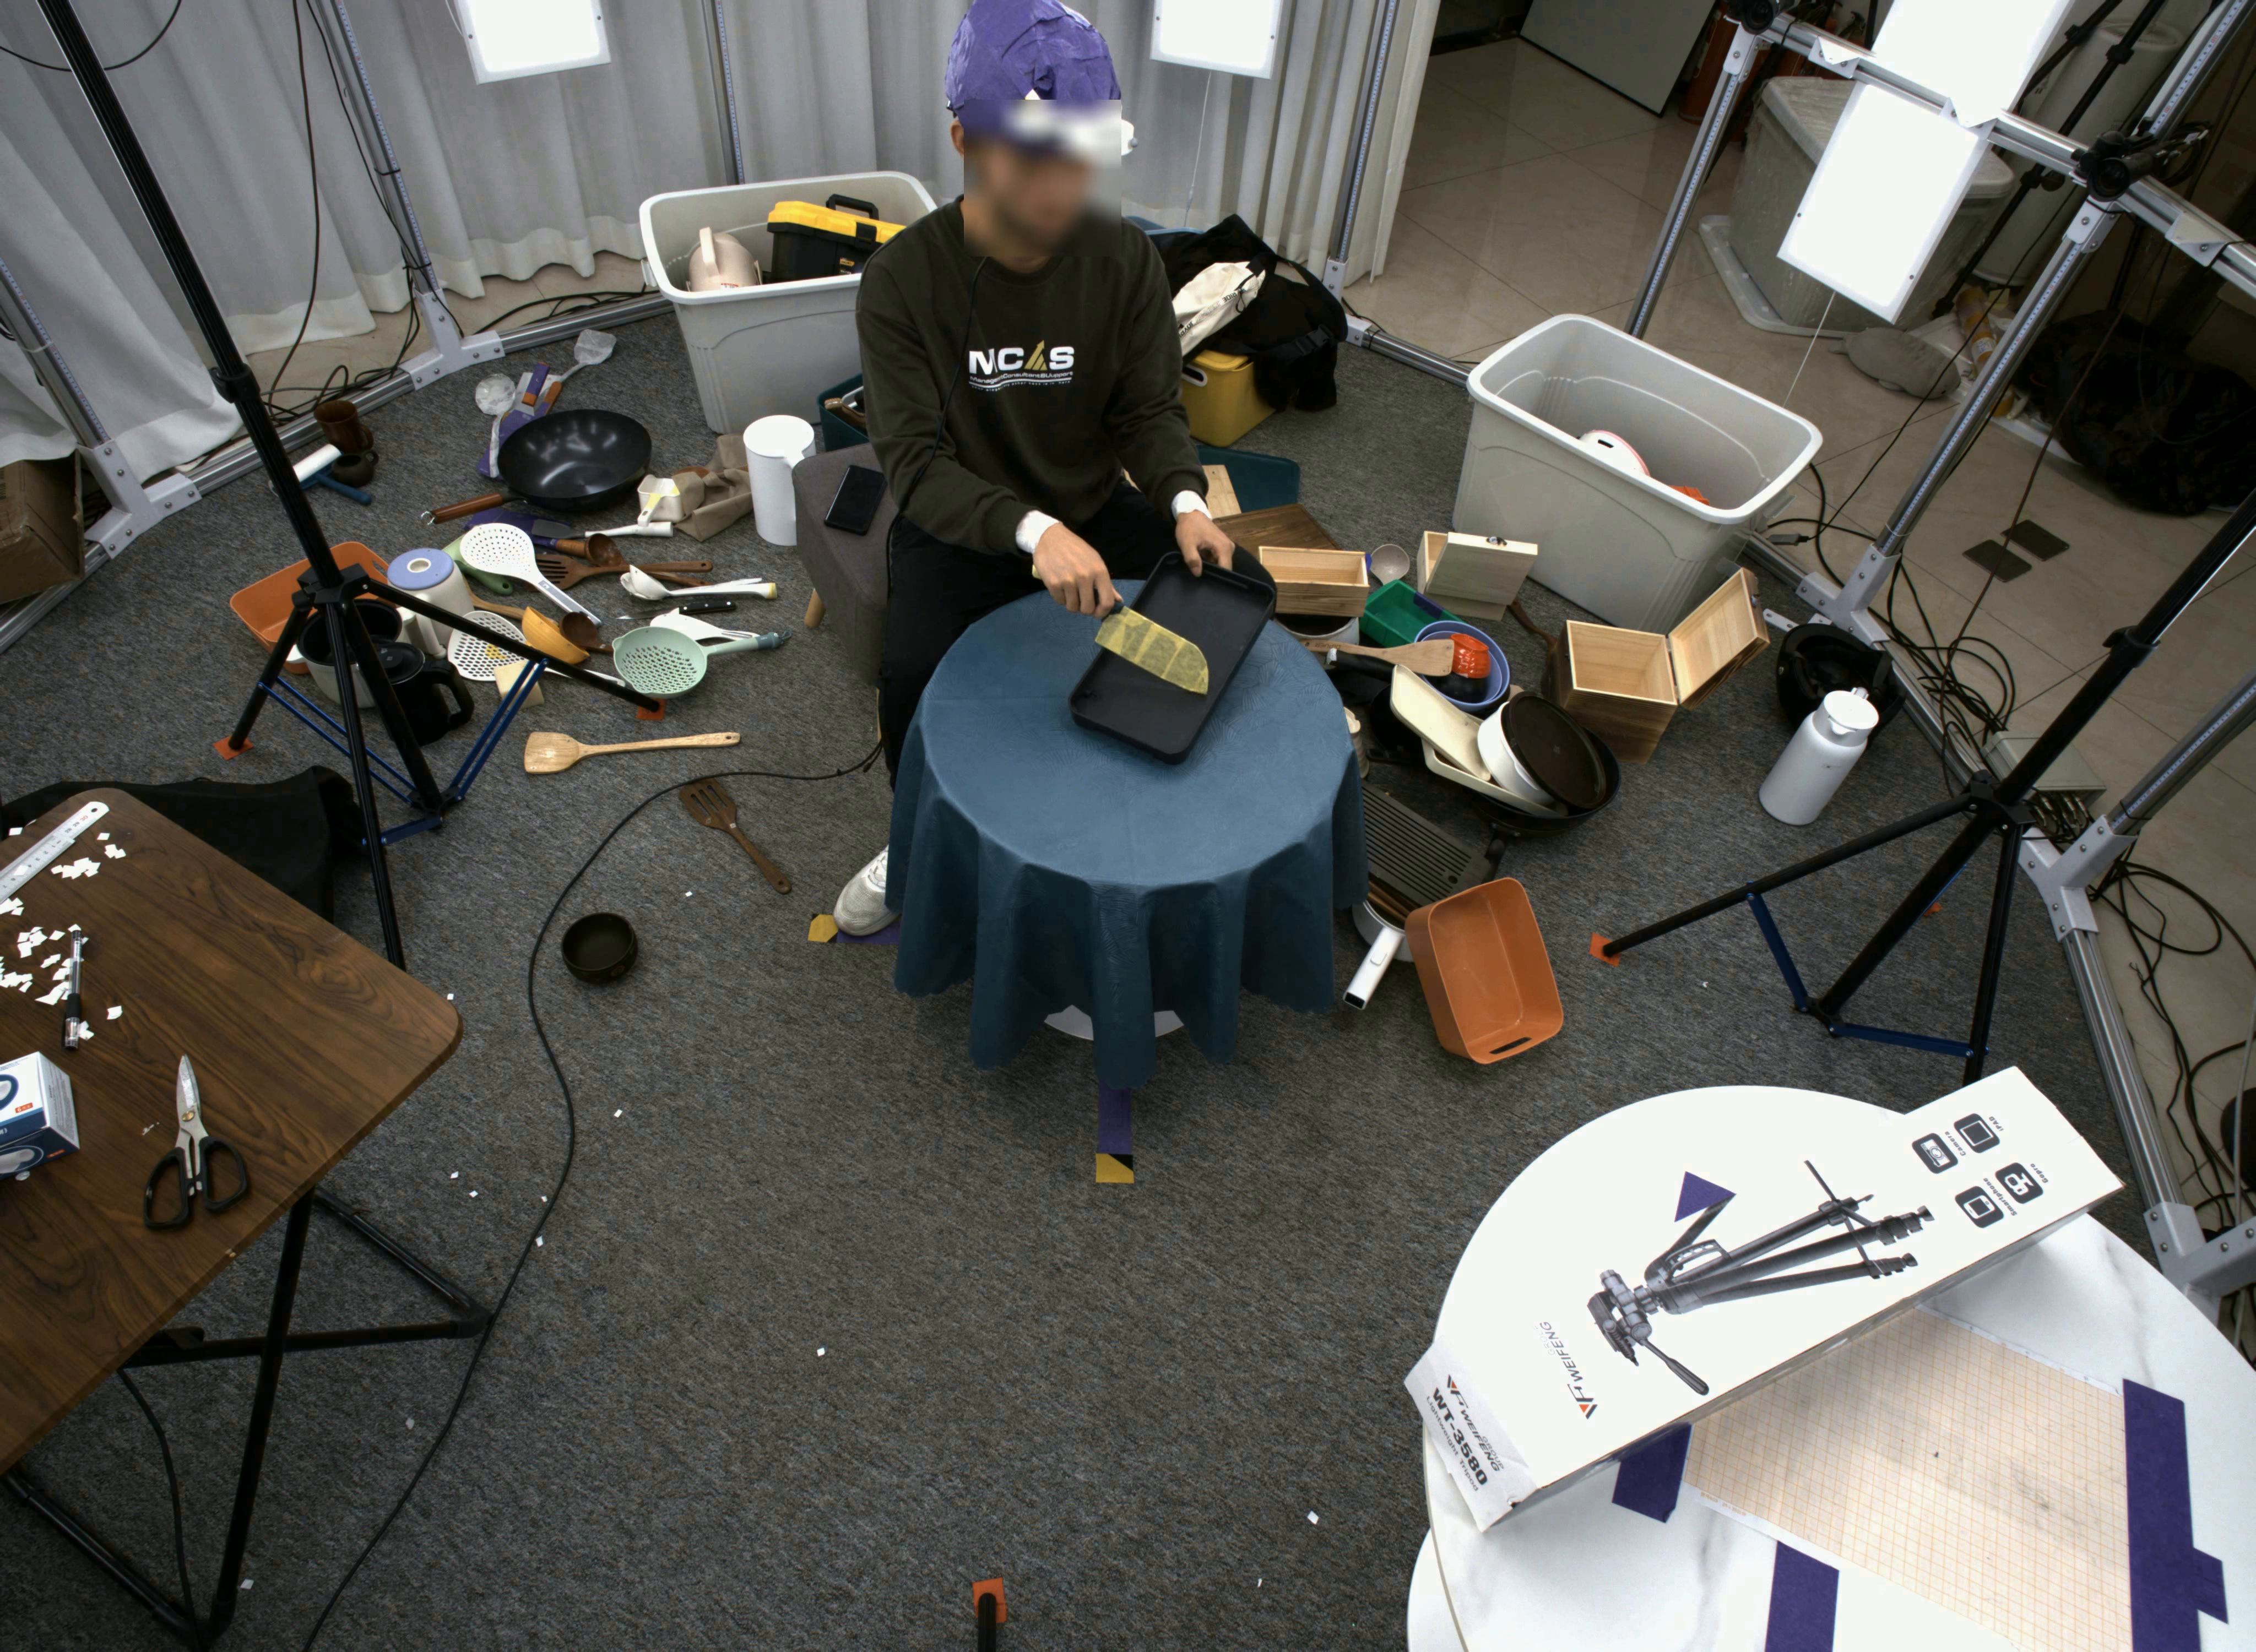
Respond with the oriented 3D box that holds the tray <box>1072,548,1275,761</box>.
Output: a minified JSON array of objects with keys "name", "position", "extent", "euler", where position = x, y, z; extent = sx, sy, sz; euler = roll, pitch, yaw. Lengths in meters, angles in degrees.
[{"name":"tray","position":[0.068,-0.248,1.819],"extent":[0.185,0.036,0.323],"euler":[22,64,17]}]

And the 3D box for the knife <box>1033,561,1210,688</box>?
[{"name":"knife","position":[-0.010,-0.276,1.776],"extent":[0.289,0.079,0.028],"euler":[32,35,-2]}]
